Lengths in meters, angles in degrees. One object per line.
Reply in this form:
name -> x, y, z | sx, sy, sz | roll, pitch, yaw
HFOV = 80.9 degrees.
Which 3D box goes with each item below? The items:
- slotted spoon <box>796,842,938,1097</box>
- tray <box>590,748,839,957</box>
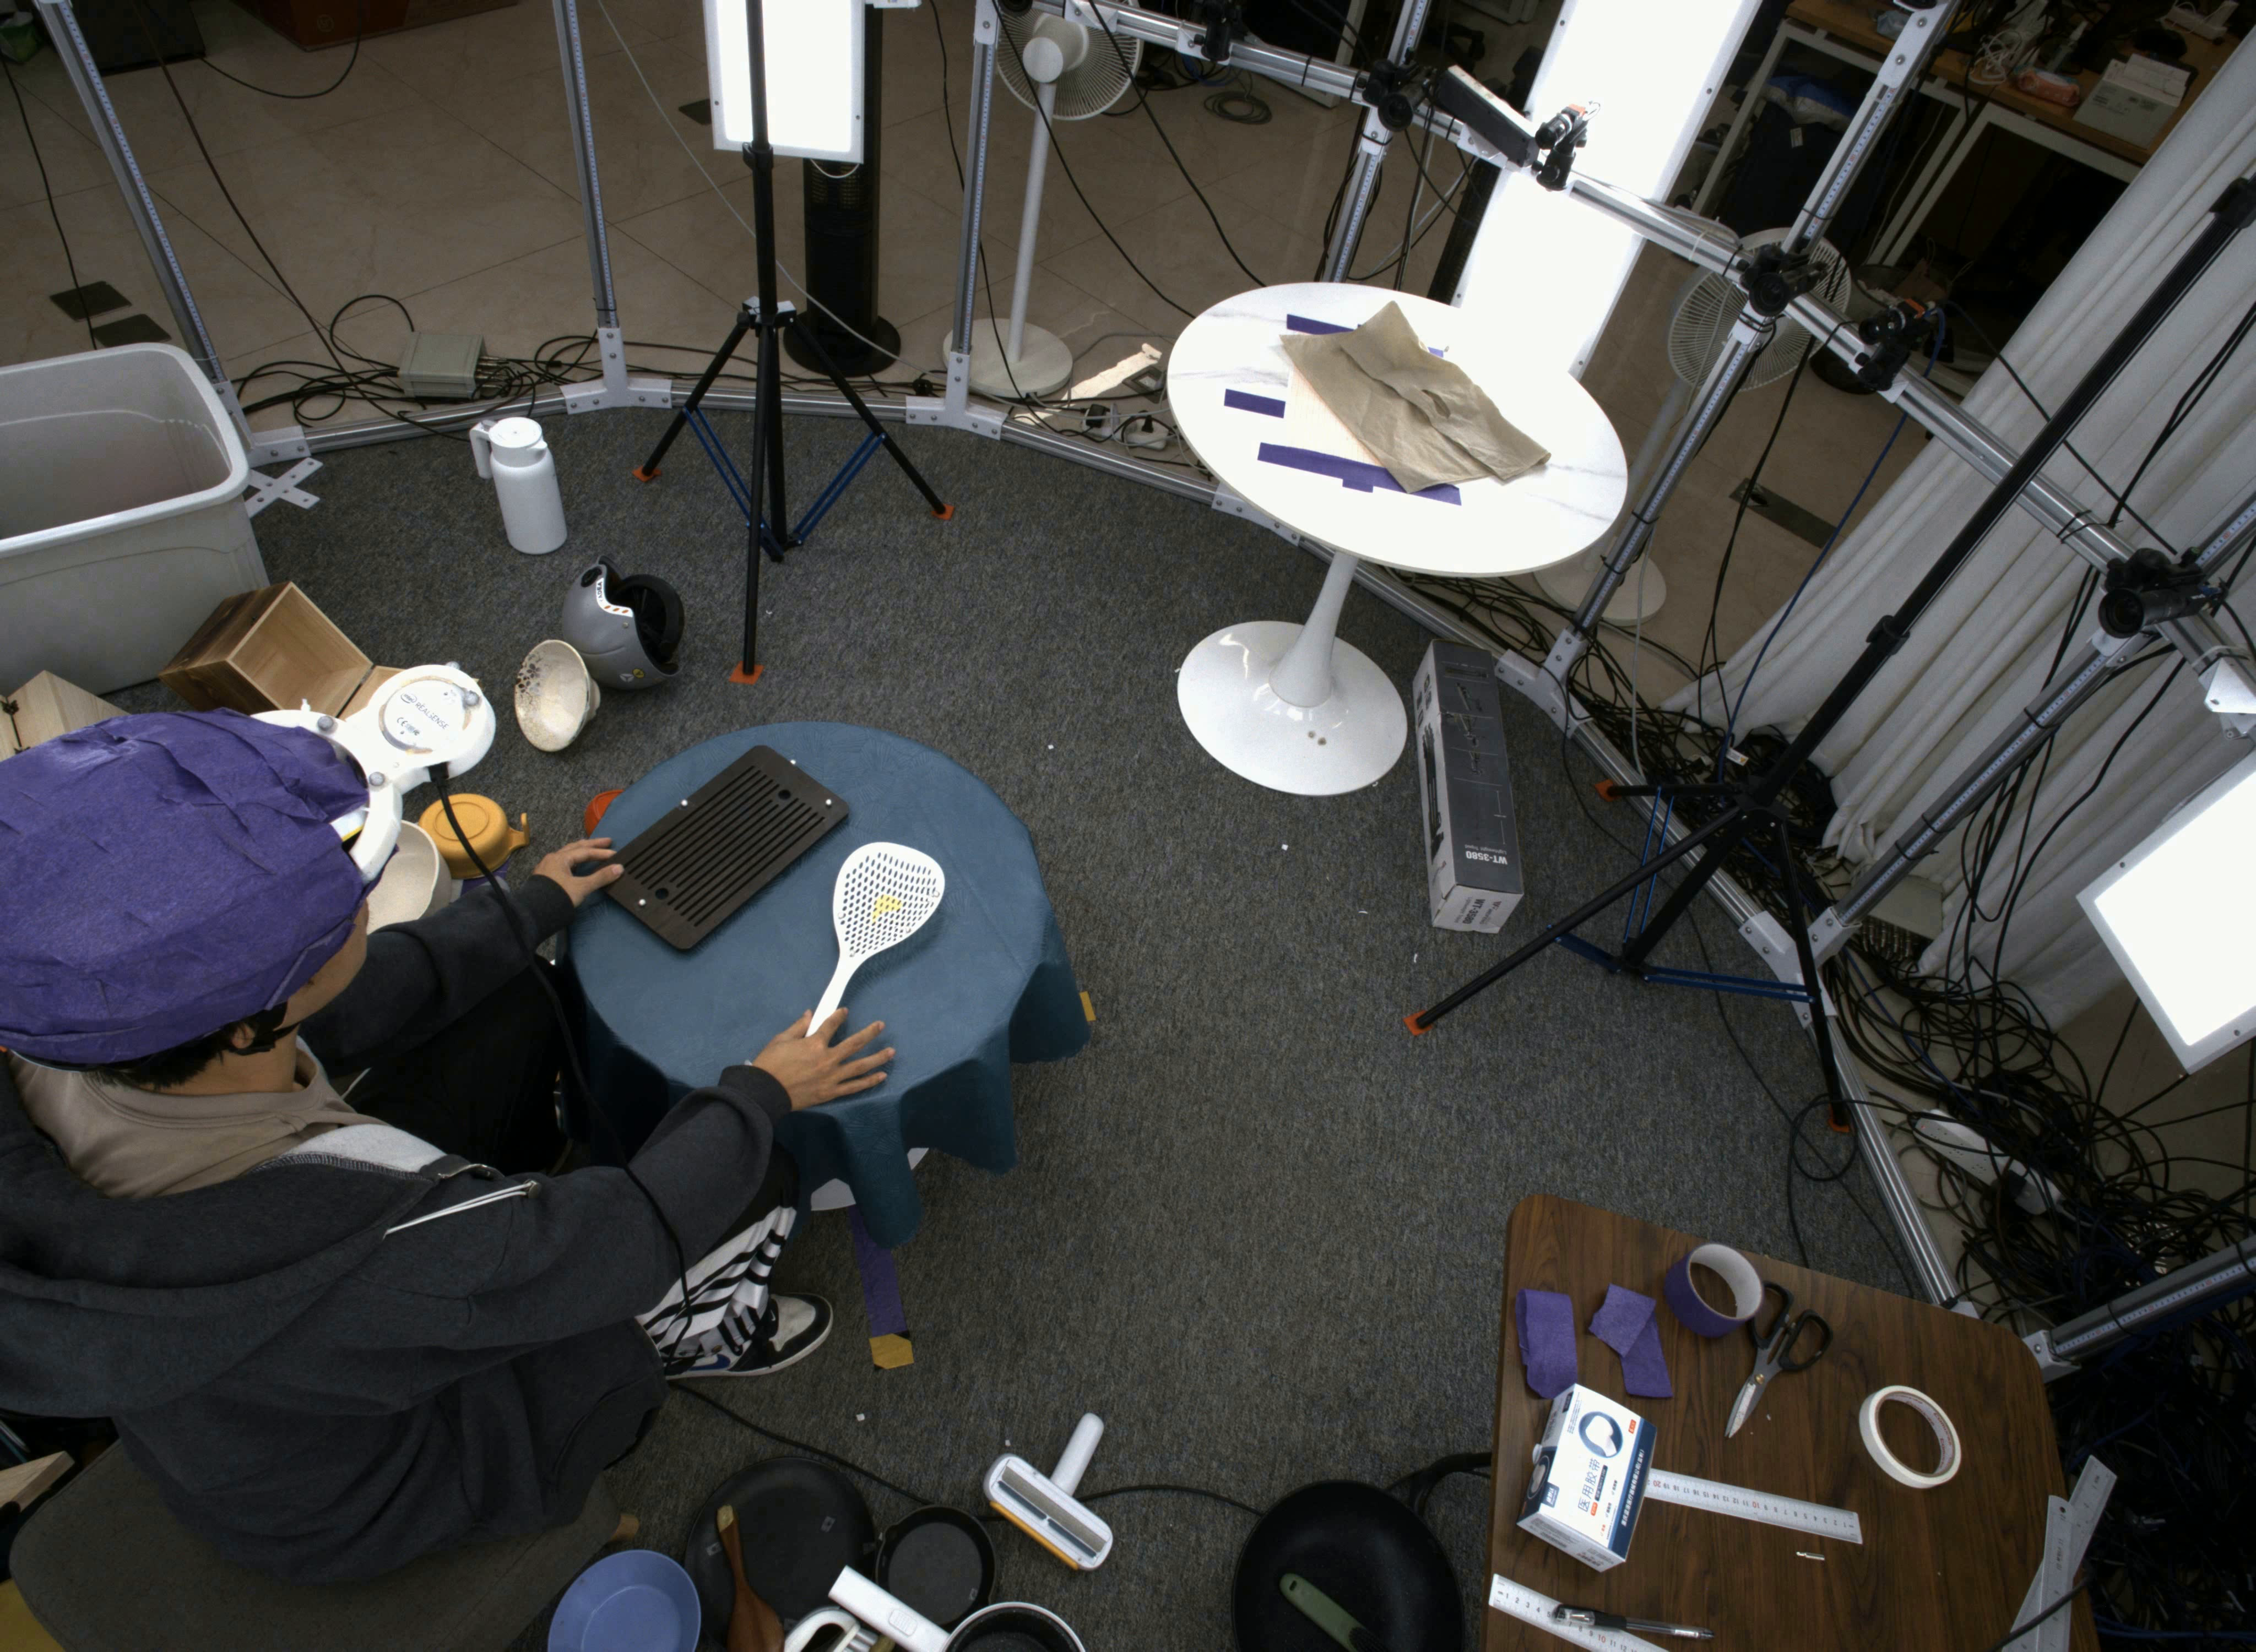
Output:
slotted spoon -> -0.342, 0.168, 1.598 | 0.135, 0.051, 0.344 | 19, 52, 0
tray -> -0.532, 0.027, 1.668 | 0.167, 0.019, 0.305 | 34, 53, 11
